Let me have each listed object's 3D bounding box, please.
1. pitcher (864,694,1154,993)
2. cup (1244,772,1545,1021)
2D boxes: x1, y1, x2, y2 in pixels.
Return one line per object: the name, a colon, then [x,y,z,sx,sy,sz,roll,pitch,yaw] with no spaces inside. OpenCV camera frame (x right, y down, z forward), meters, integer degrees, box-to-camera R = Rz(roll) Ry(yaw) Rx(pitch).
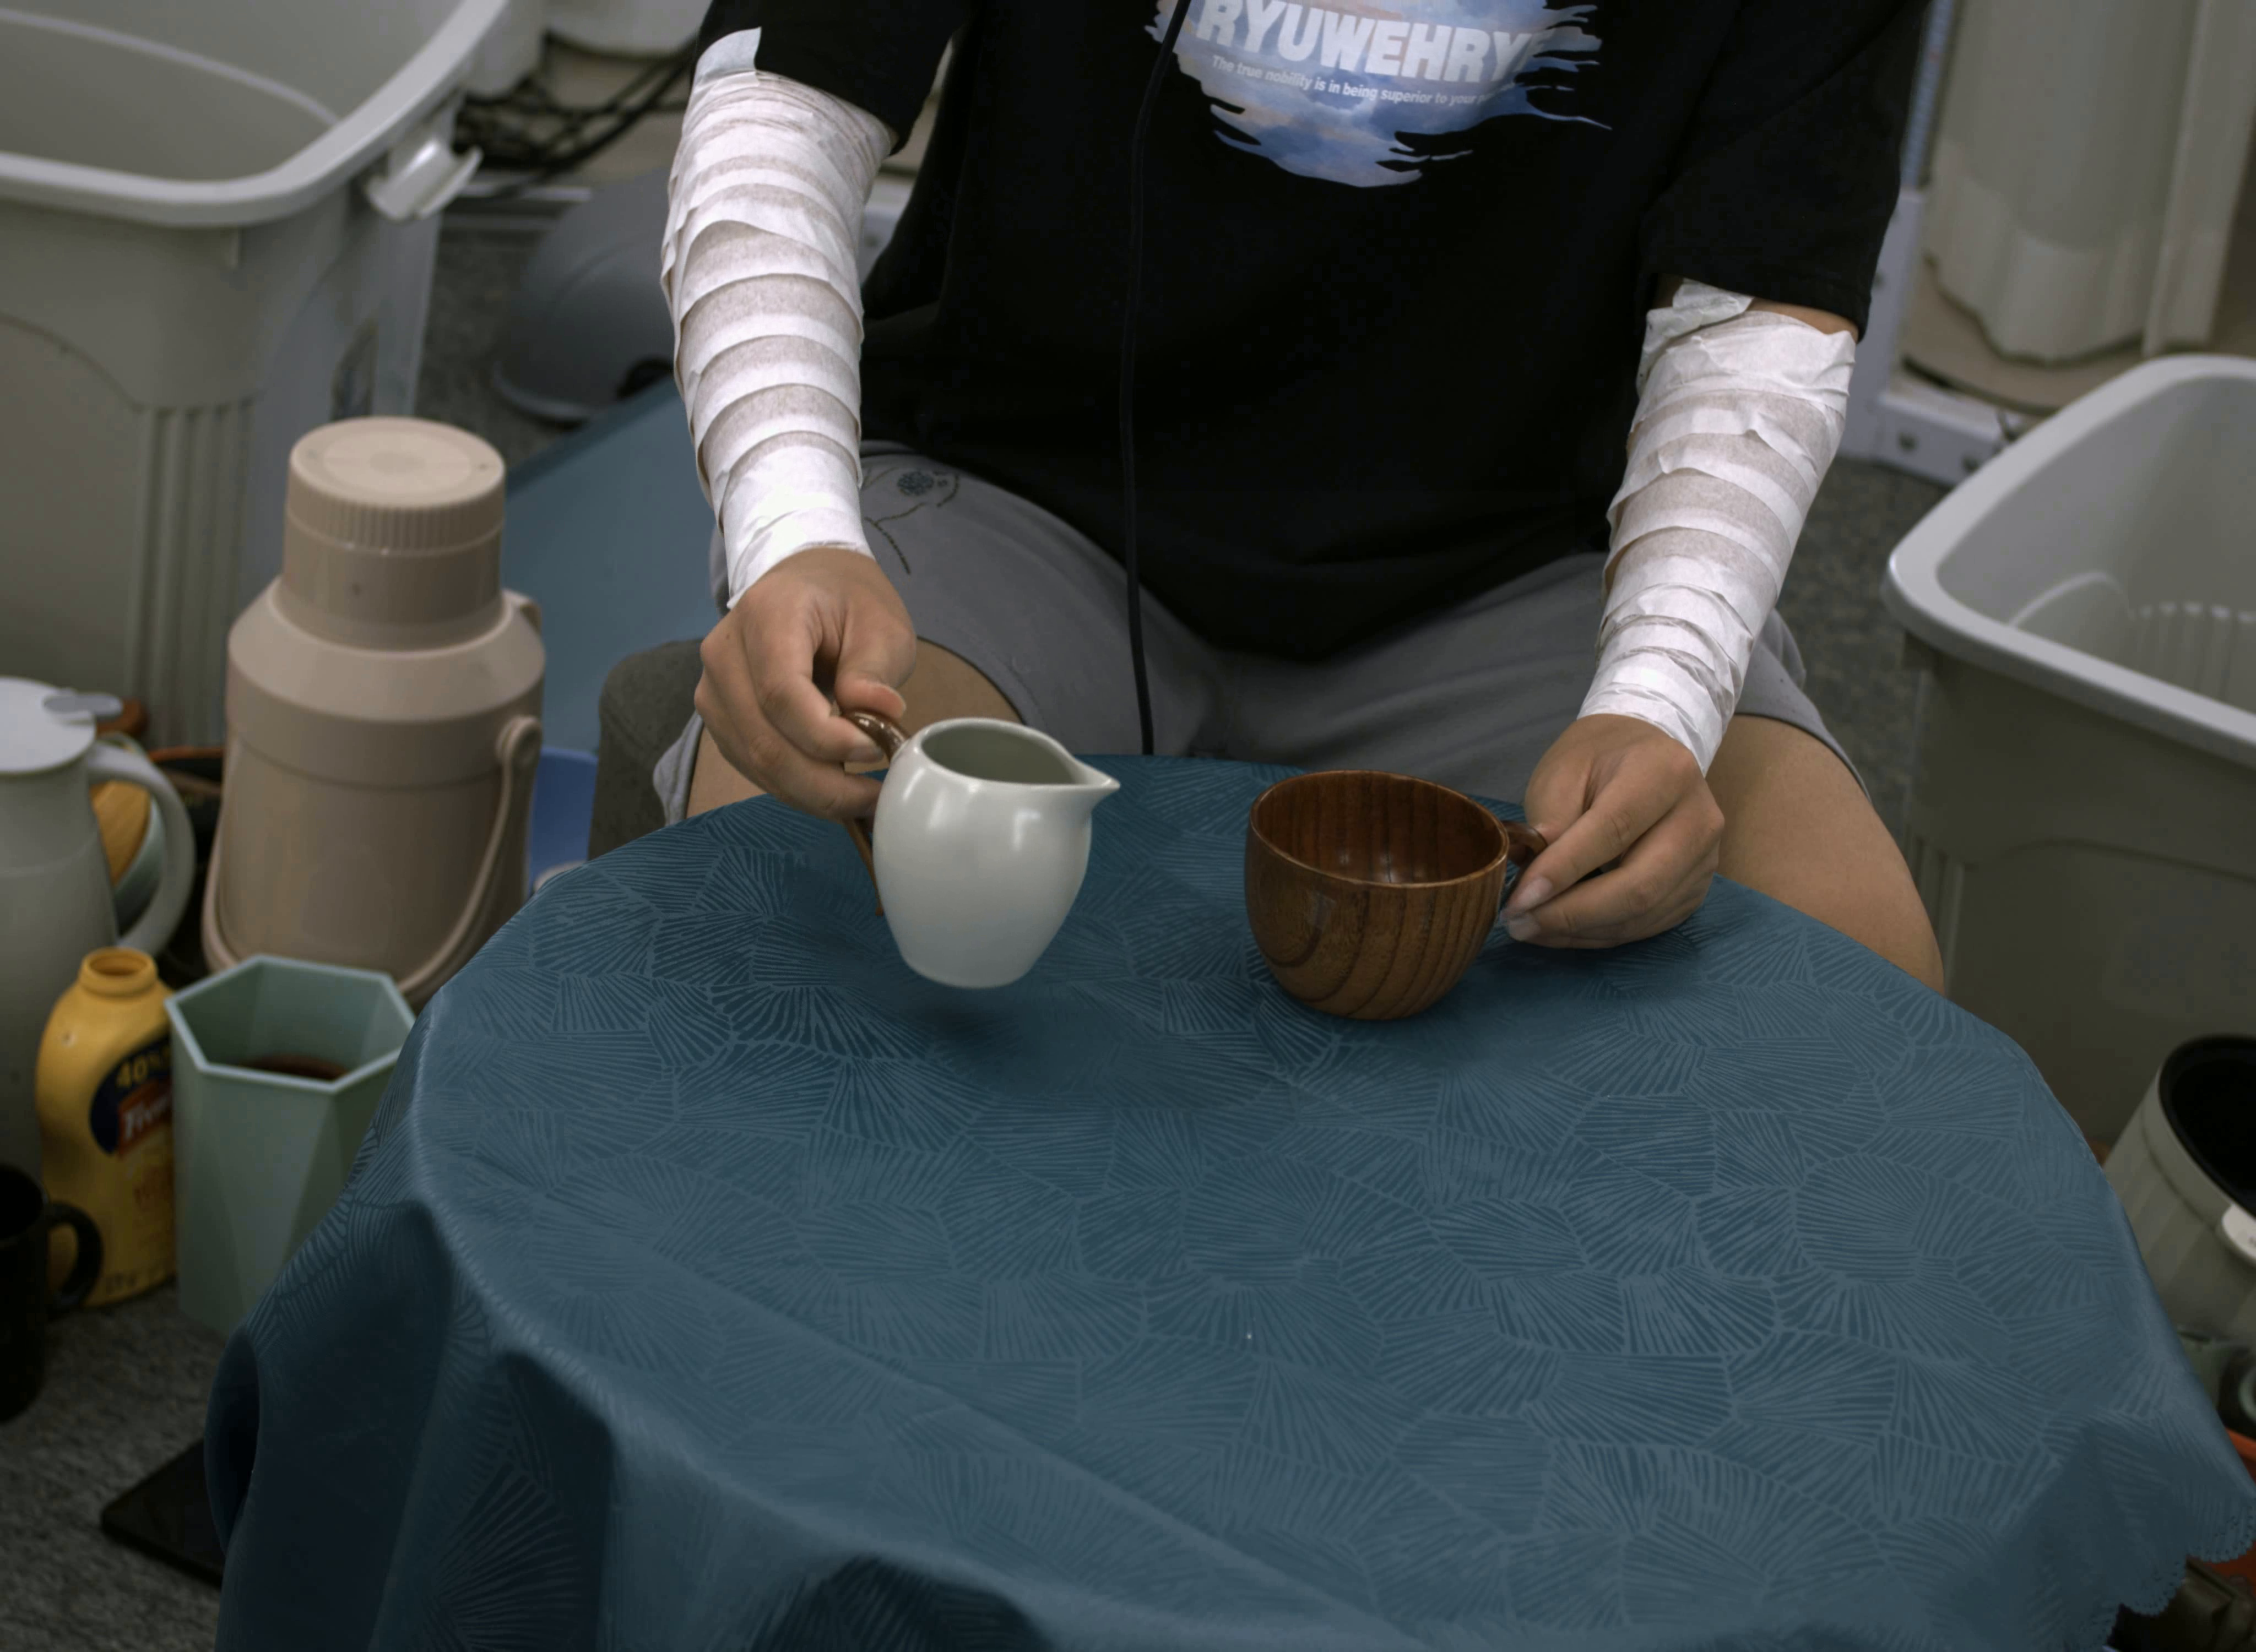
pitcher: [-0.050,0.006,1.864,0.120,0.087,0.075,29,27,27]
cup: [0.099,0.028,1.944,0.118,0.067,0.097,-4,25,-24]
